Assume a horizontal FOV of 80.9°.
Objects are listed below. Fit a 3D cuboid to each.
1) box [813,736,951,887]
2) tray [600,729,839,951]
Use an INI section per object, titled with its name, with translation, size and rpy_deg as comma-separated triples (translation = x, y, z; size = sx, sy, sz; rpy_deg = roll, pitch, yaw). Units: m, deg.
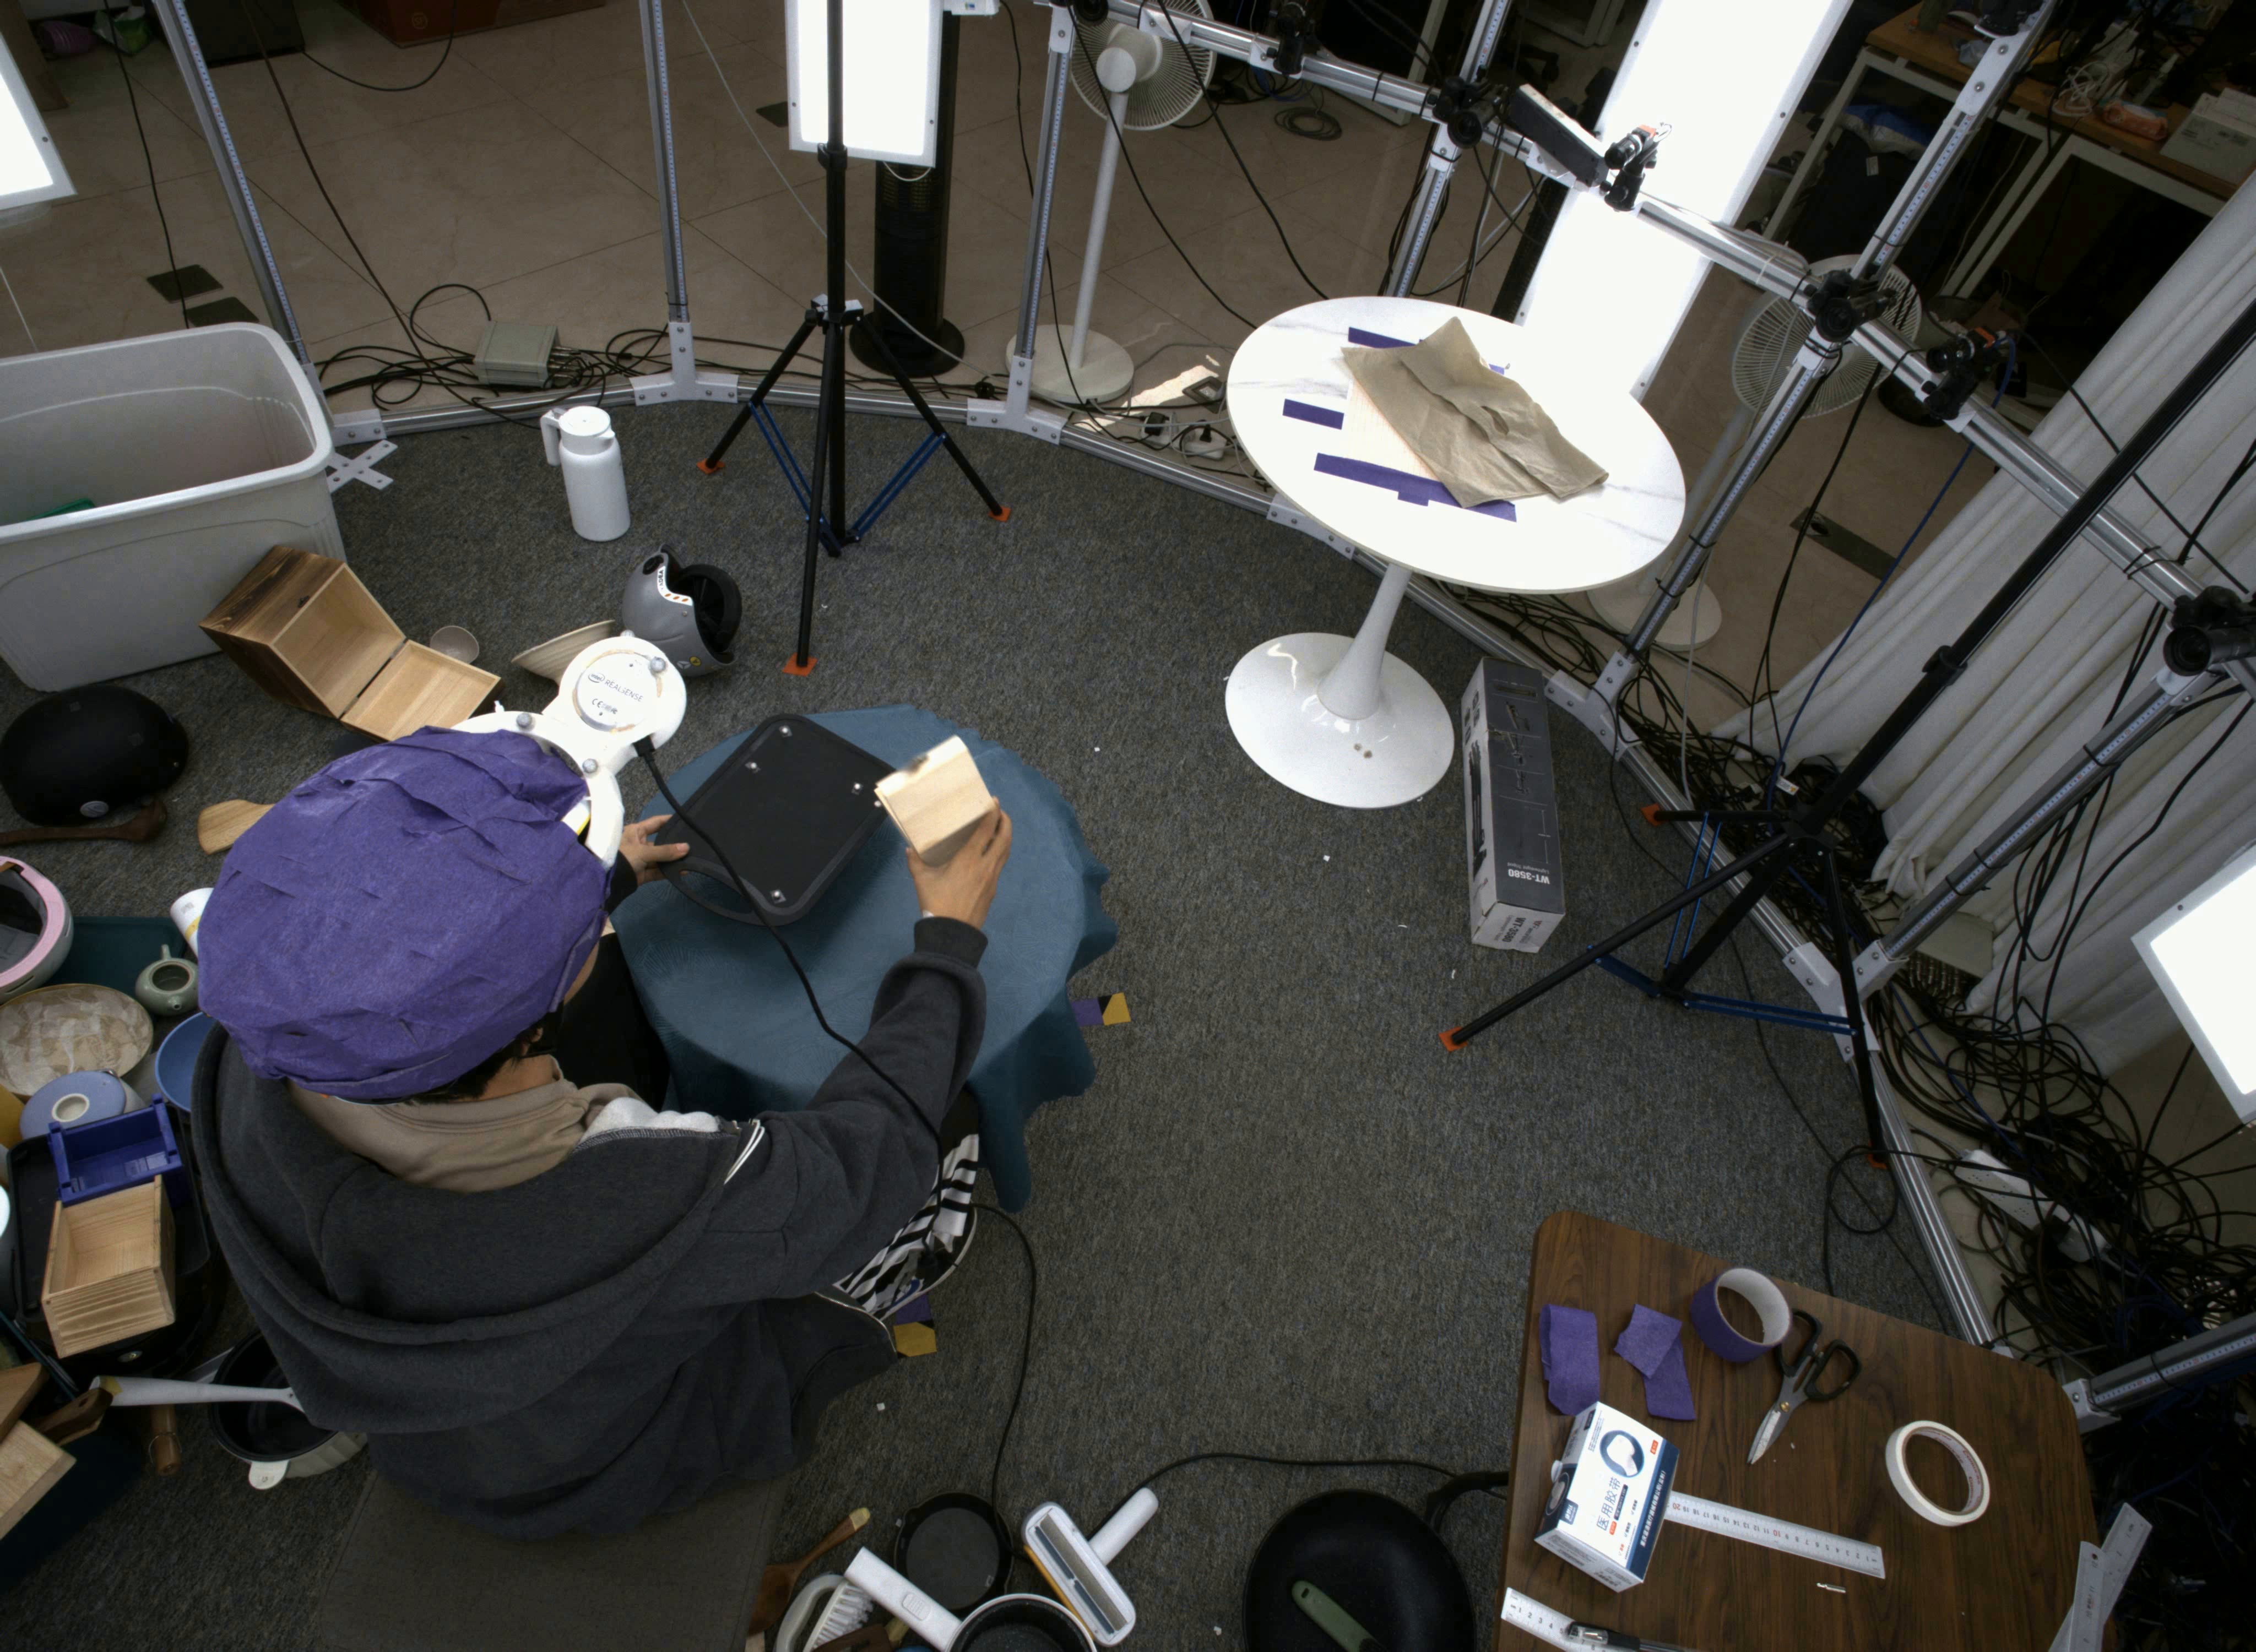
[box]
translation = -0.287, -0.037, 1.438
size = 0.102, 0.191, 0.129
rpy_deg = -38, 55, -11
[tray]
translation = -0.495, 0.012, 1.583
size = 0.210, 0.010, 0.323
rpy_deg = 28, 48, -1
